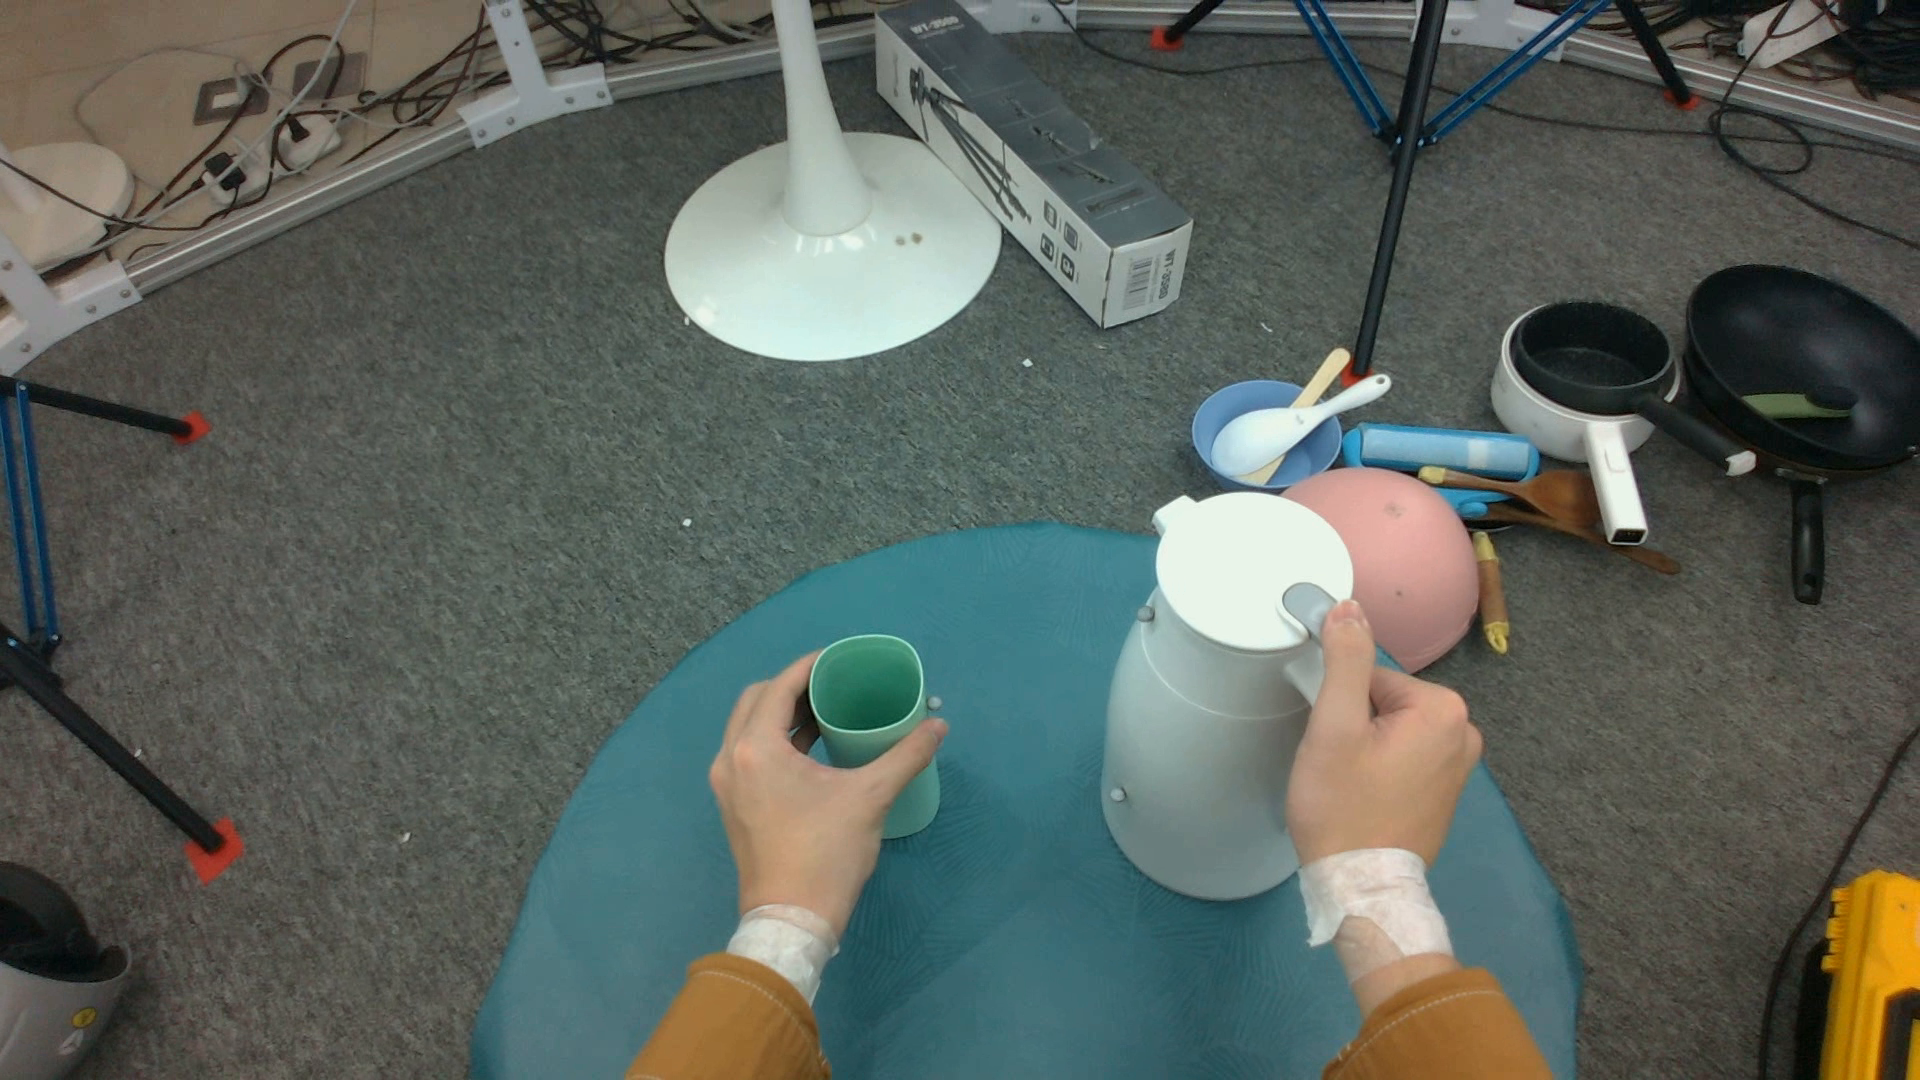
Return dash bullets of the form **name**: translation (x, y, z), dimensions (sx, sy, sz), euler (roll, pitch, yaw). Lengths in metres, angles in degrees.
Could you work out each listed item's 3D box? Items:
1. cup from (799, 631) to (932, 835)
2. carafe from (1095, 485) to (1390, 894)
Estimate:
- **cup**: translation (-0.052, 0.116, 0.799), dimensions (0.067, 0.132, 0.067), euler (-2, 52, 3)
- **carafe**: translation (0.154, 0.091, 0.730), dimensions (0.133, 0.247, 0.168), euler (-31, 58, -19)
